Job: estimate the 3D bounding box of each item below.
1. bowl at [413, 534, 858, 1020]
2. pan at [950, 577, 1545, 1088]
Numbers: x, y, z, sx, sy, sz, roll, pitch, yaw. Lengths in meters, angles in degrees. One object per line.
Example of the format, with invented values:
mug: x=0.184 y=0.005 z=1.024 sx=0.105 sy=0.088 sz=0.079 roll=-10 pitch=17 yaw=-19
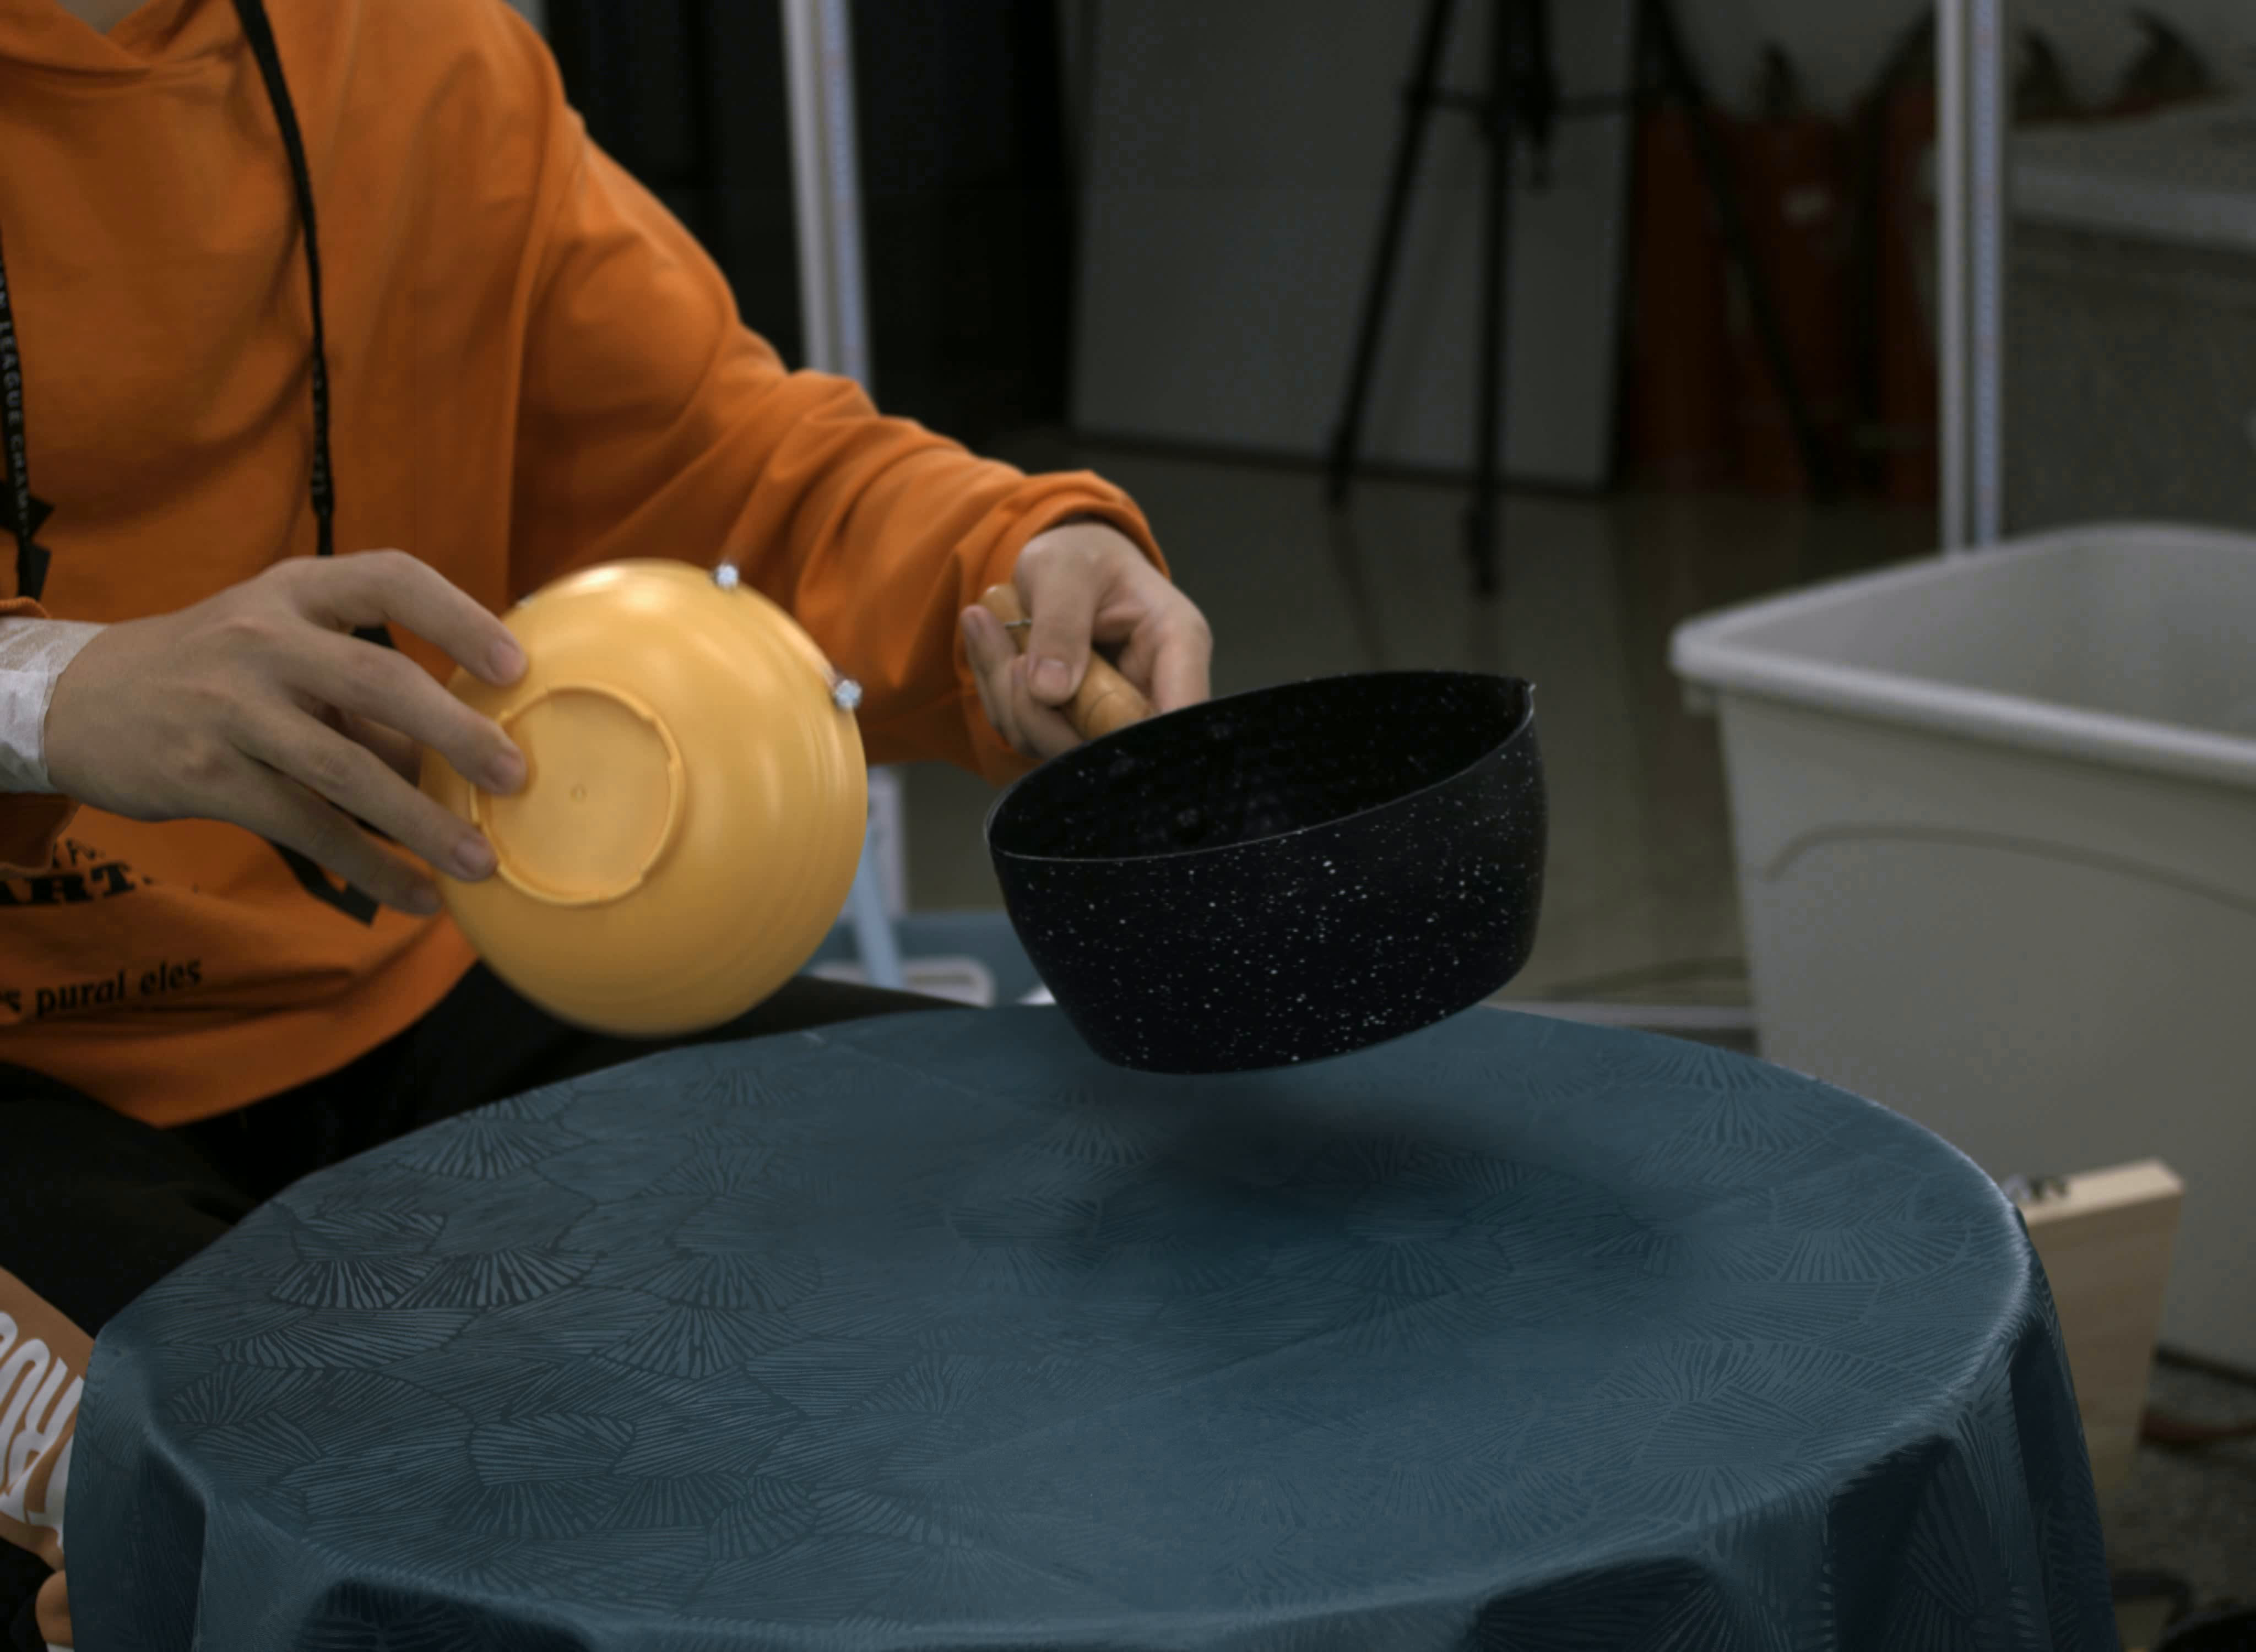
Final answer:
bowl: x=-0.156 y=-0.016 z=1.605 sx=0.145 sy=0.147 sz=0.059 roll=1 pitch=-2 yaw=19
pan: x=0.019 y=-0.007 z=1.840 sx=0.204 sy=0.109 sz=0.346 roll=-20 pitch=17 yaw=-16
